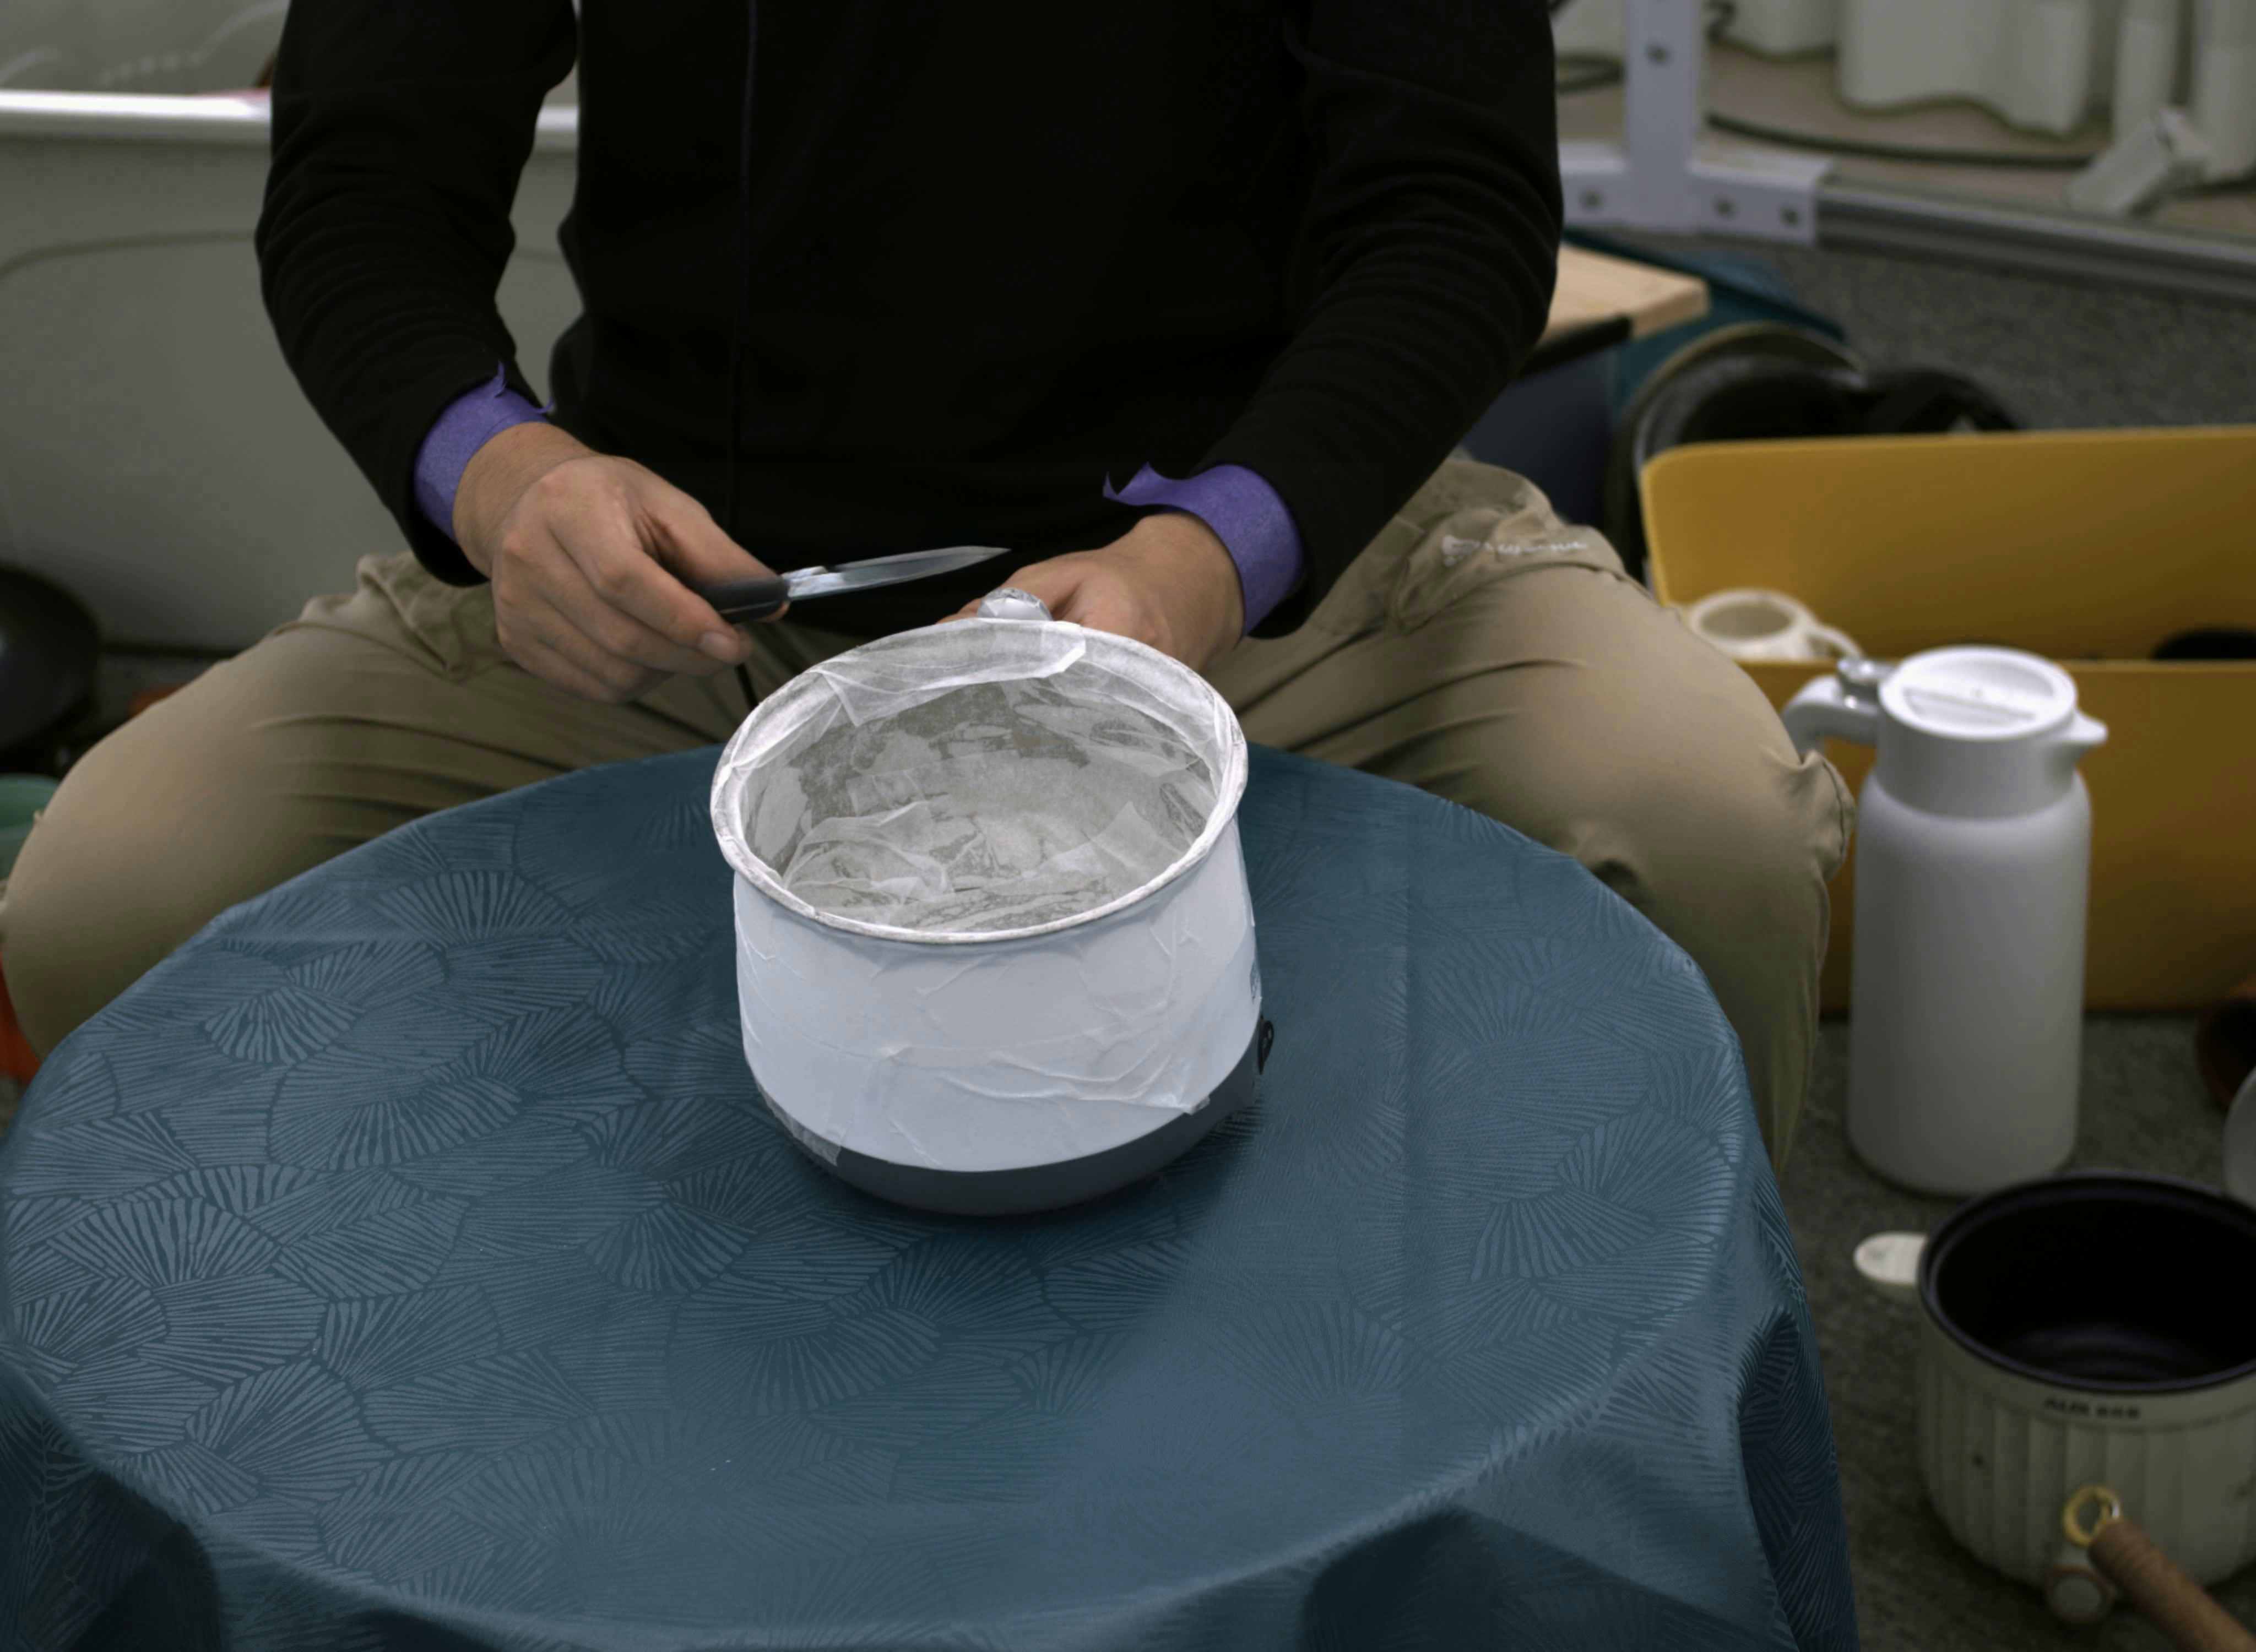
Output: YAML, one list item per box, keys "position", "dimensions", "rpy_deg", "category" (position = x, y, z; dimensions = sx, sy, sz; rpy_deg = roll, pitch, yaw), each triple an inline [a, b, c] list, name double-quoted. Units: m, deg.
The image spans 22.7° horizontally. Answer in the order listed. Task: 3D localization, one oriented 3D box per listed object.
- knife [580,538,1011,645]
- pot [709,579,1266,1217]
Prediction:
- position: [-0.117, -0.082, 1.930]
  dimensions: [0.235, 0.016, 0.025]
  rpy_deg: [-7, 27, 49]
  category: "knife"
- position: [-0.043, 0.015, 1.892]
  dimensions: [0.178, 0.134, 0.238]
  rpy_deg: [0, 37, 4]
  category: "pot"
